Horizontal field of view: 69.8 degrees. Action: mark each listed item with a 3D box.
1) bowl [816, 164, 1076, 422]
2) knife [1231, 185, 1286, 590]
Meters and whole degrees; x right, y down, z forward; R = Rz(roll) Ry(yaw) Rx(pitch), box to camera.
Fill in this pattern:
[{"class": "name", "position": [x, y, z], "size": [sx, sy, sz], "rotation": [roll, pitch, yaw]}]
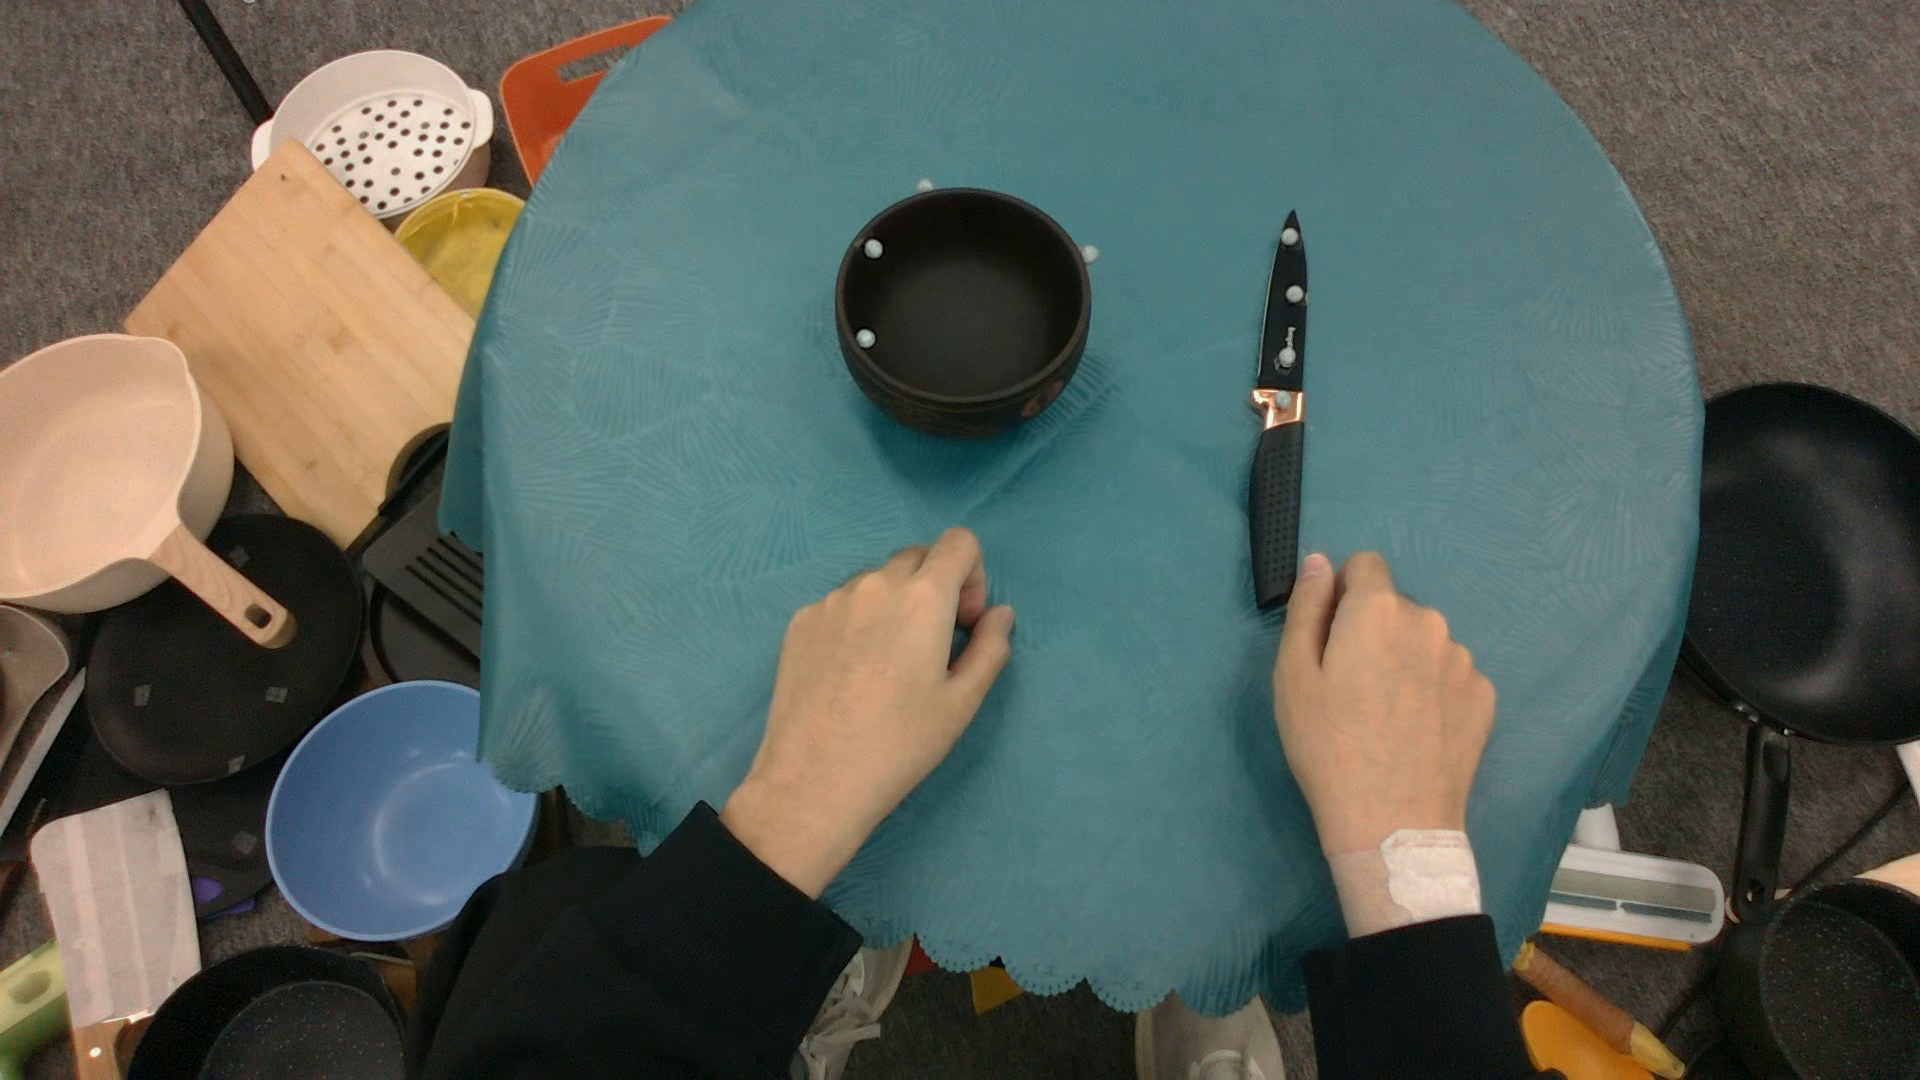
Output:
[{"class": "bowl", "position": [-0.006, -0.108, 0.643], "size": [0.118, 0.069, 0.118], "rotation": [0, 70, 0]}, {"class": "knife", "position": [0.145, -0.081, 0.671], "size": [0.026, 0.017, 0.226], "rotation": [3, 66, 7]}]
